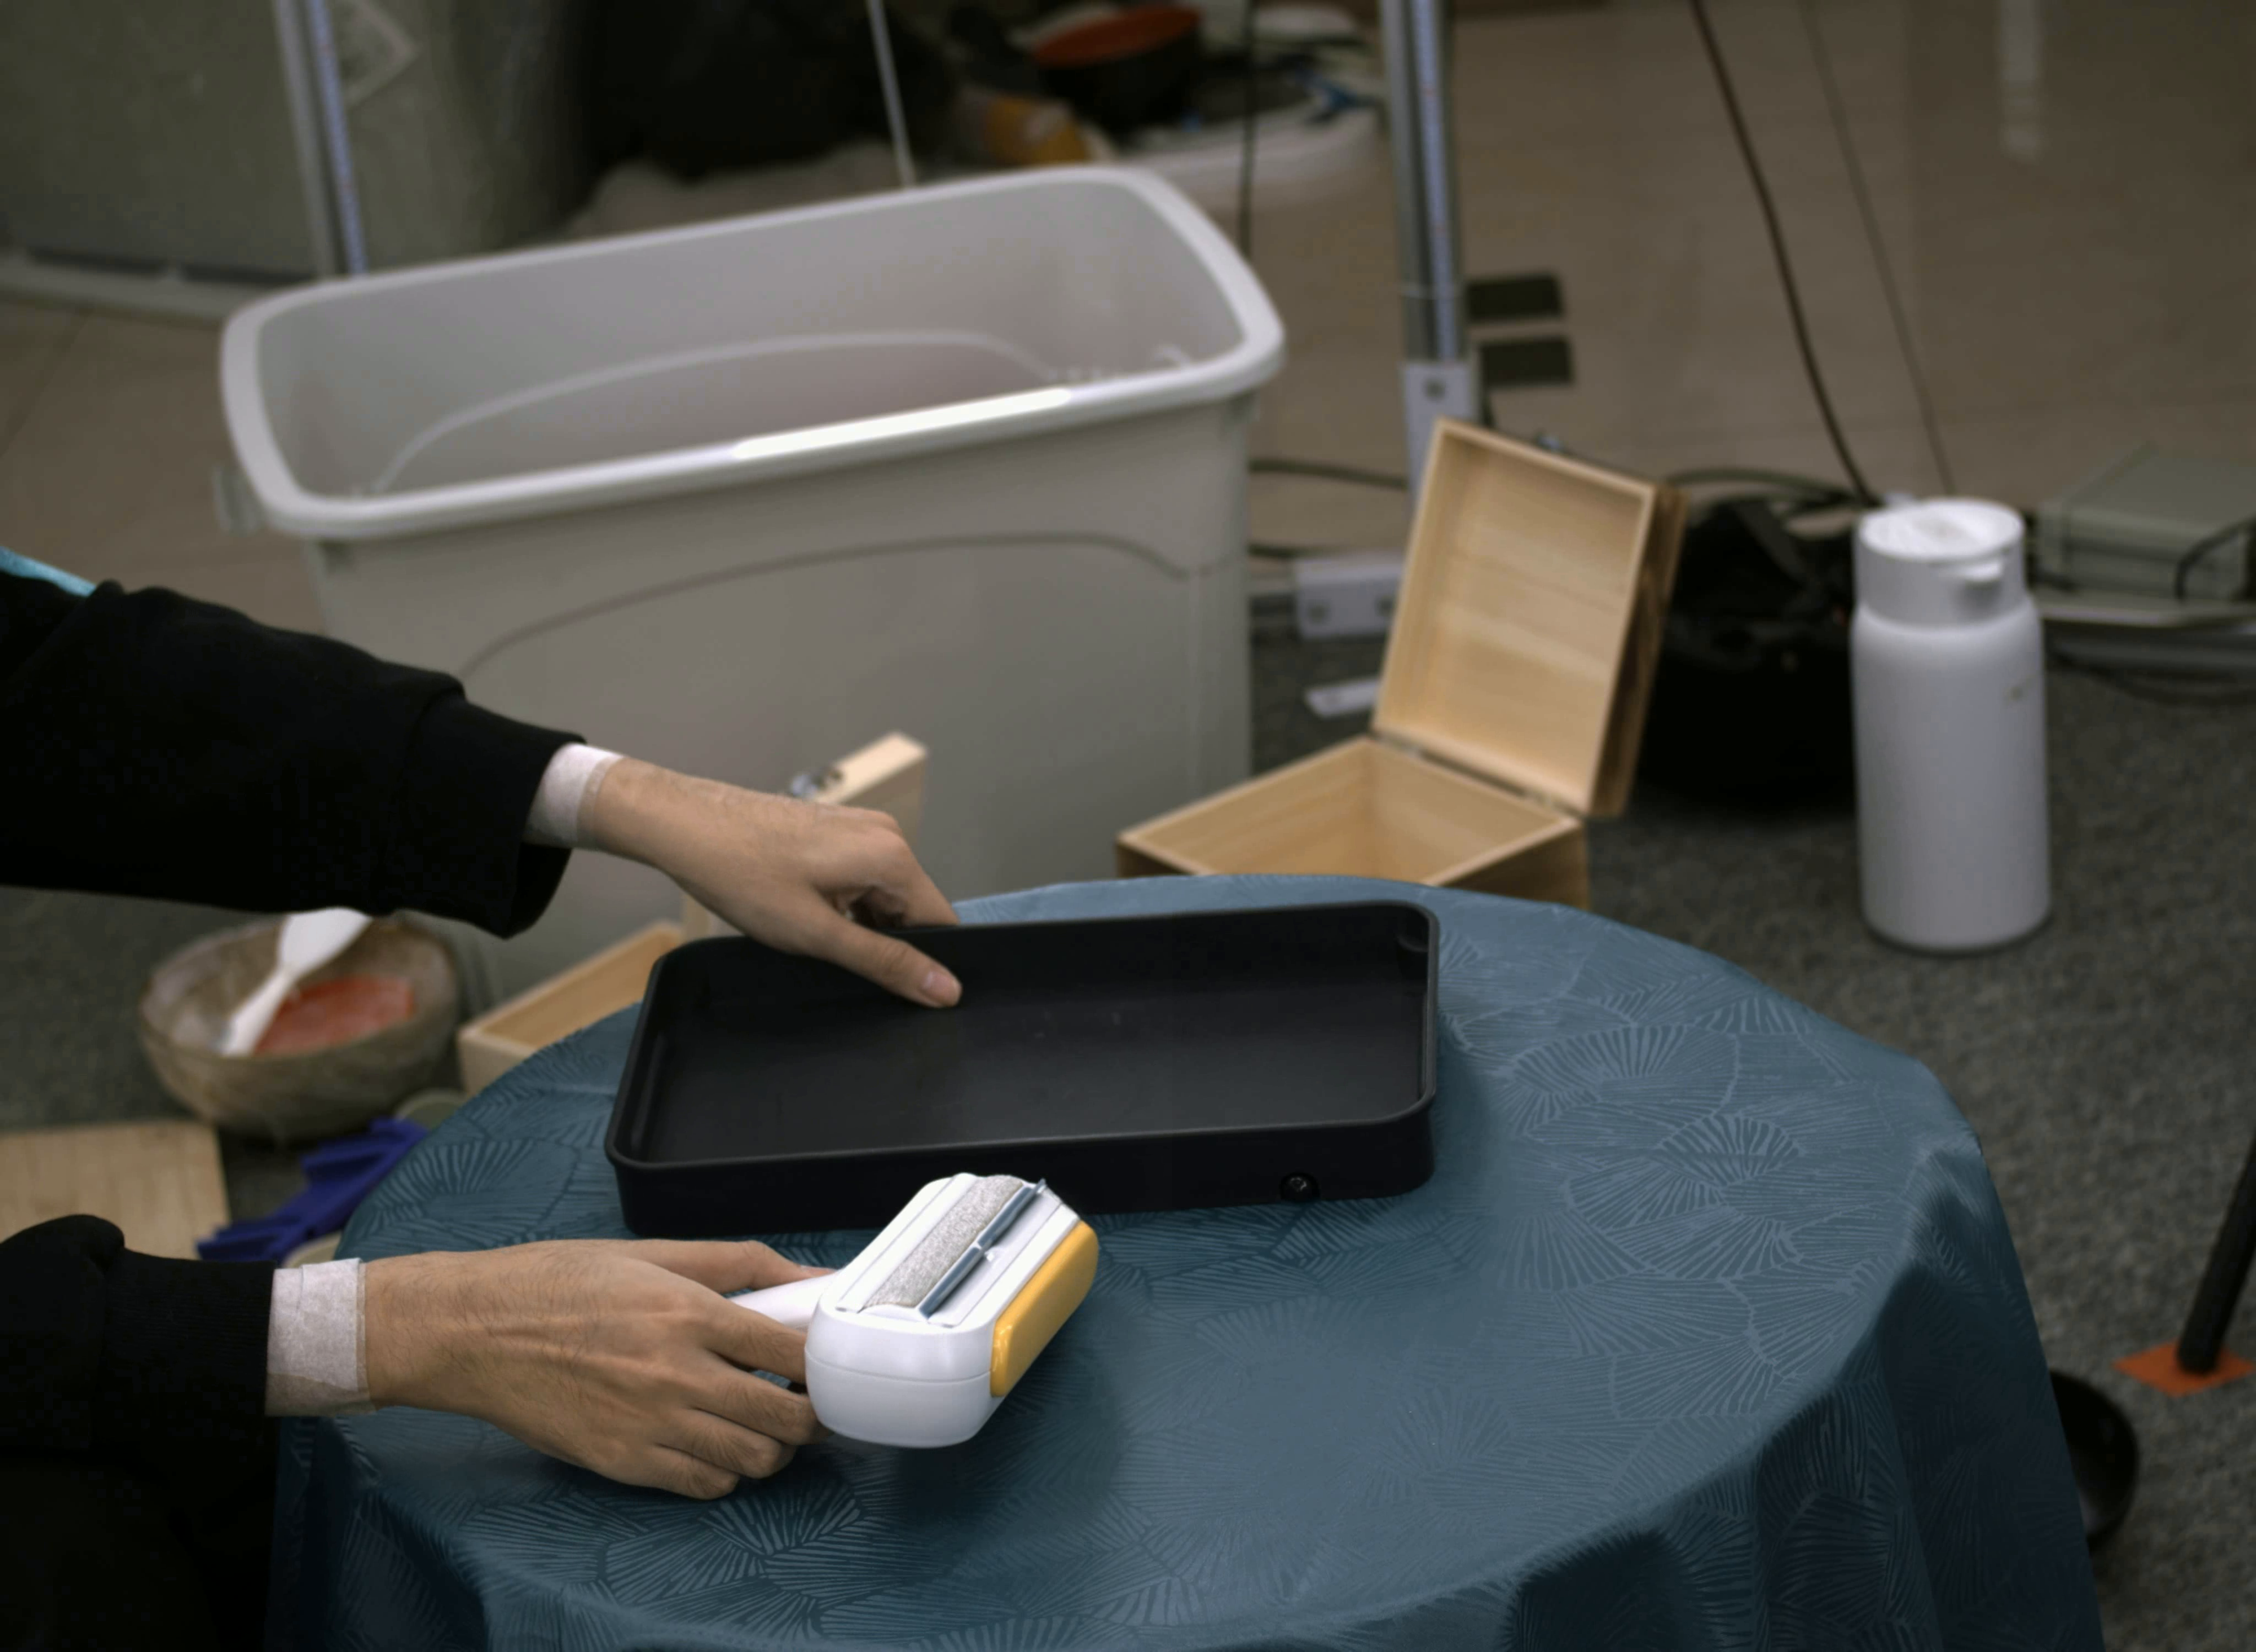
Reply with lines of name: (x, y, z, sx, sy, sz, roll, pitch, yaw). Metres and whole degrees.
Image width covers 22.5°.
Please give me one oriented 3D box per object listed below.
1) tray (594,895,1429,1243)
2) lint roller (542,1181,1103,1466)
tray: (-0.041, 0.093, 2.205, 0.317, 0.037, 0.181, -4, 27, 4)
lint roller: (-0.119, 0.178, 2.005, 0.192, 0.075, 0.191, 0, 17, 17)
